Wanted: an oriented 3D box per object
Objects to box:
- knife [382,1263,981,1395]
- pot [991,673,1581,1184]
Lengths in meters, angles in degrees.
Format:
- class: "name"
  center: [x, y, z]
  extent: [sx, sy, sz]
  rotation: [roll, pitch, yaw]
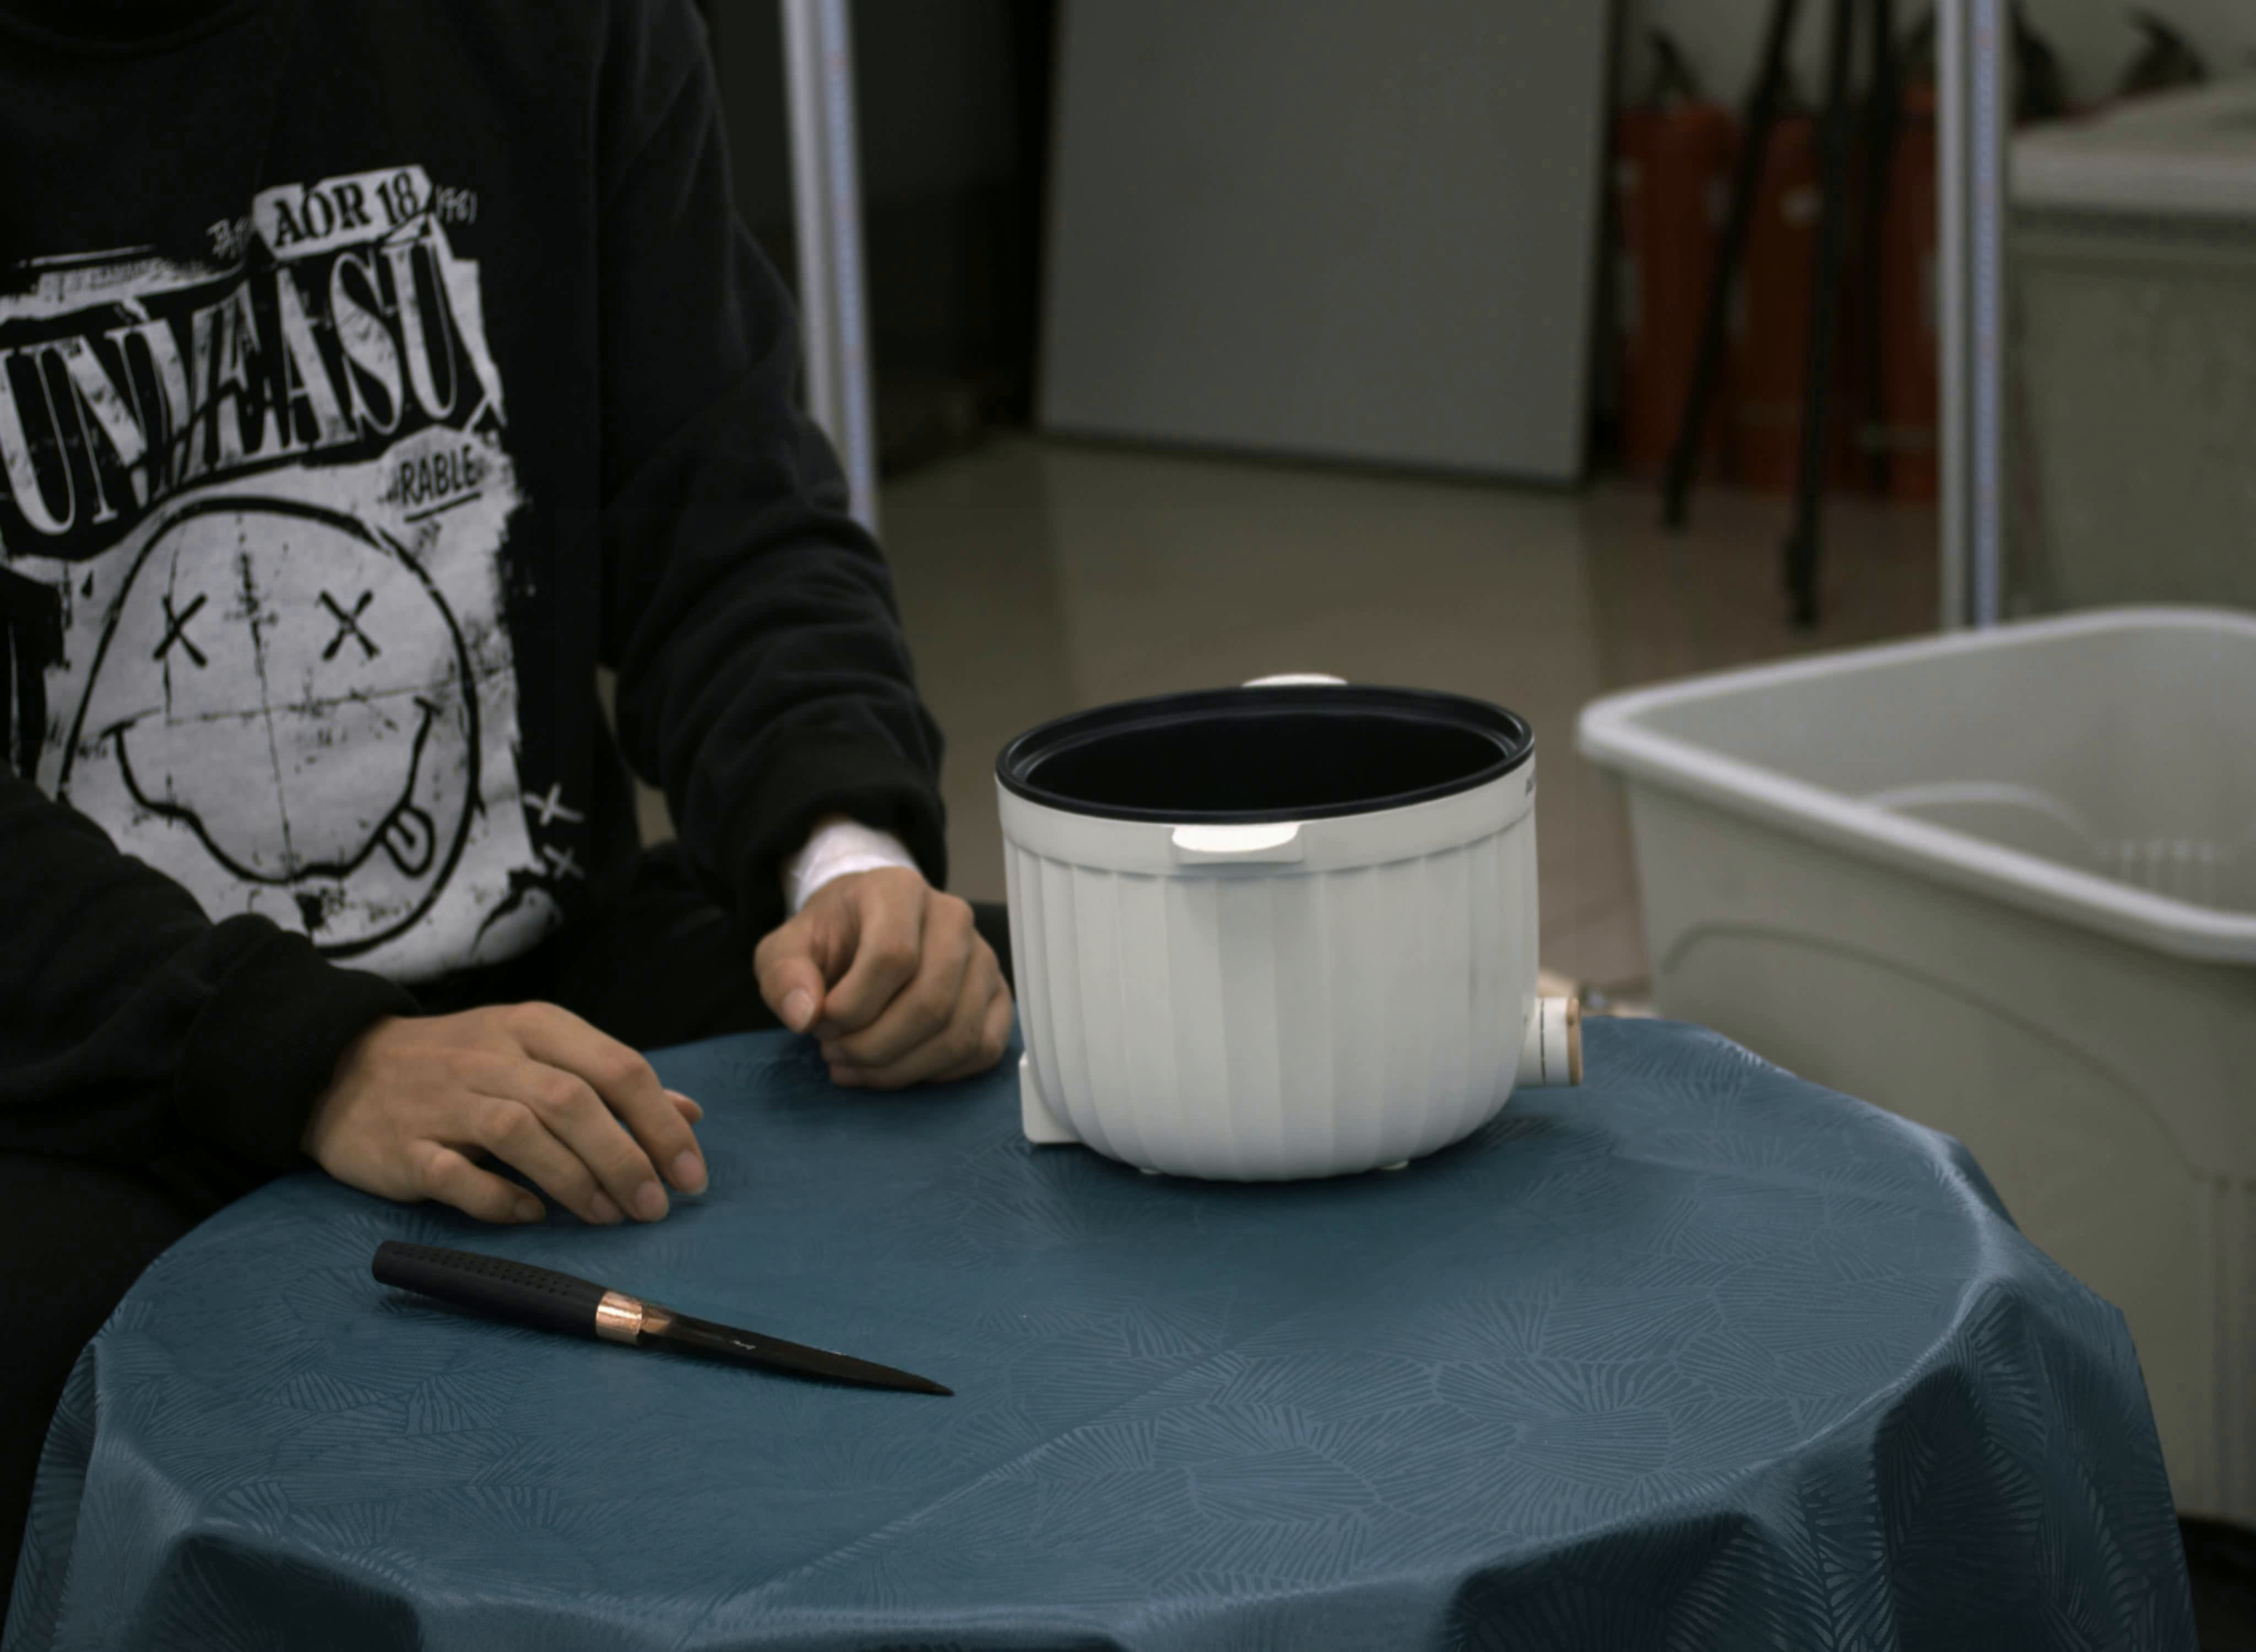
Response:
- class: "knife"
  center: [-0.140, 0.156, 1.660]
  extent: [0.227, 0.017, 0.026]
  rotation: [7, 2, 34]
- class: "pot"
  center: [0.054, 0.036, 1.811]
  extent: [0.189, 0.144, 0.240]
  rotation: [-5, 15, 9]
